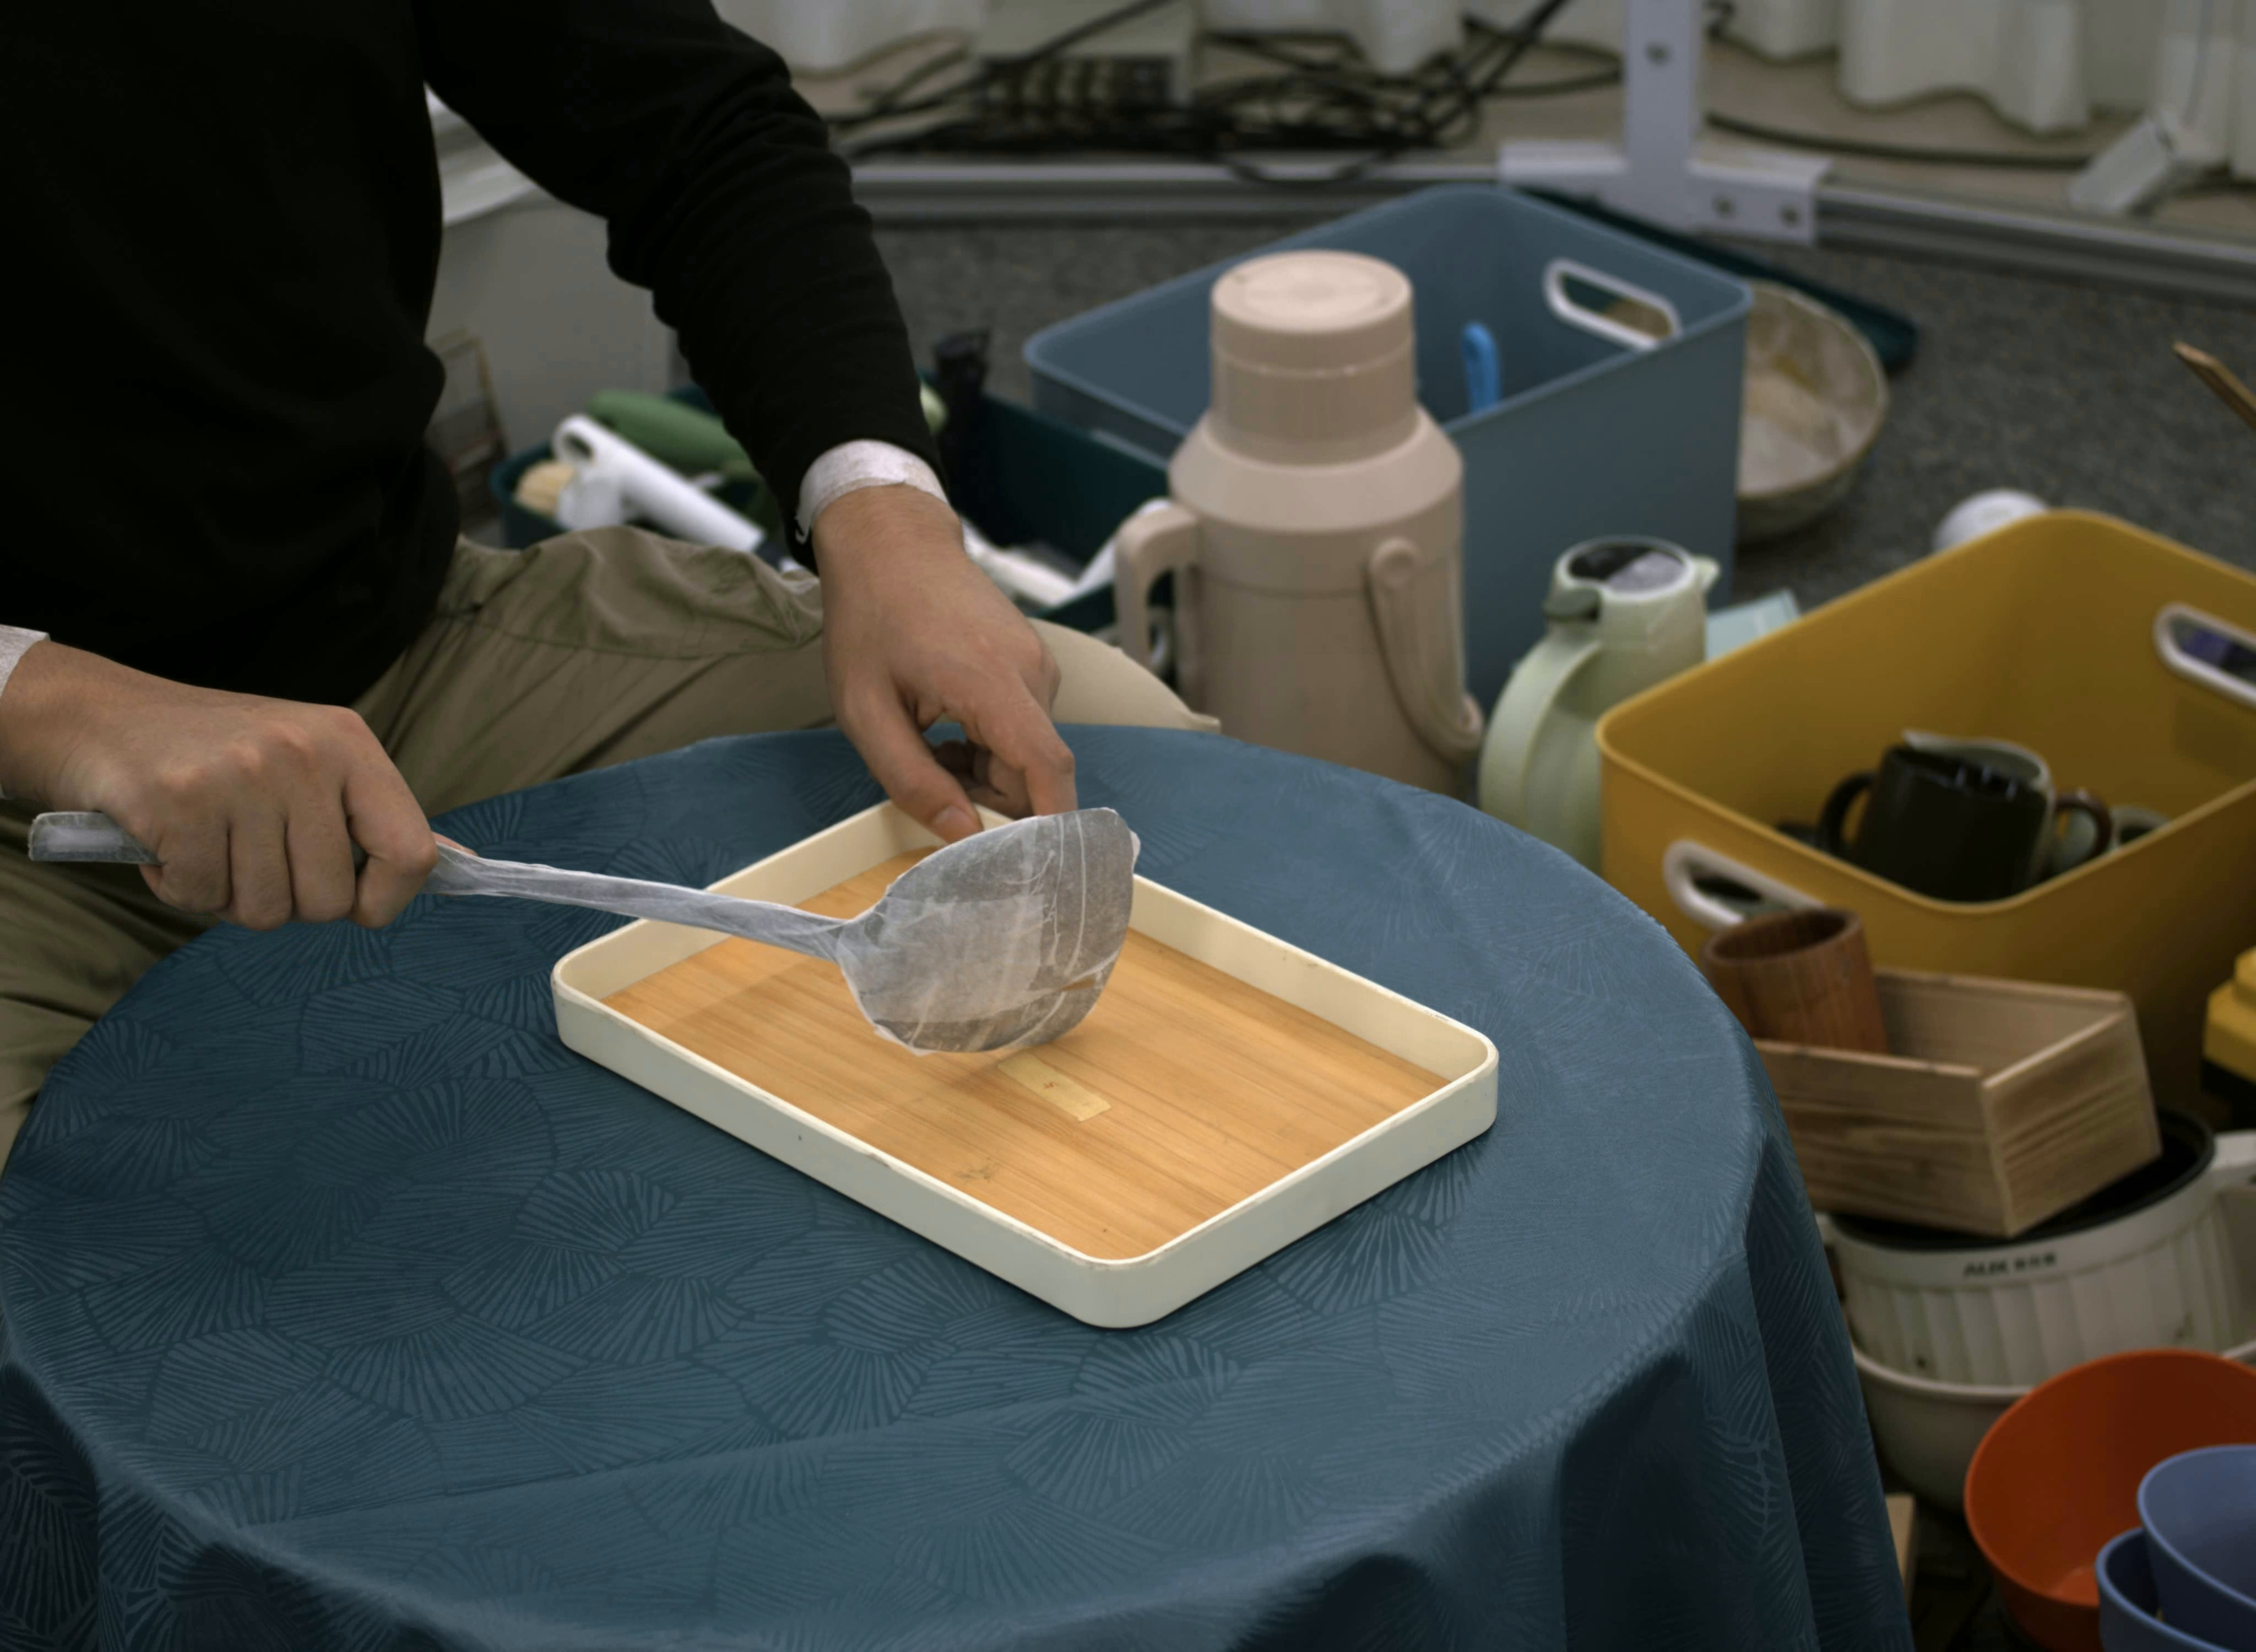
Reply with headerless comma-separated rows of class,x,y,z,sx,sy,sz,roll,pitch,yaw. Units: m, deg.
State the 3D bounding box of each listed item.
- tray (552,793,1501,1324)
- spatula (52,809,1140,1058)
tray,-0.038,0.074,1.927,0.194,0.027,0.300,-26,35,-37
spatula,-0.173,0.022,1.872,0.364,0.097,0.045,8,29,-12
